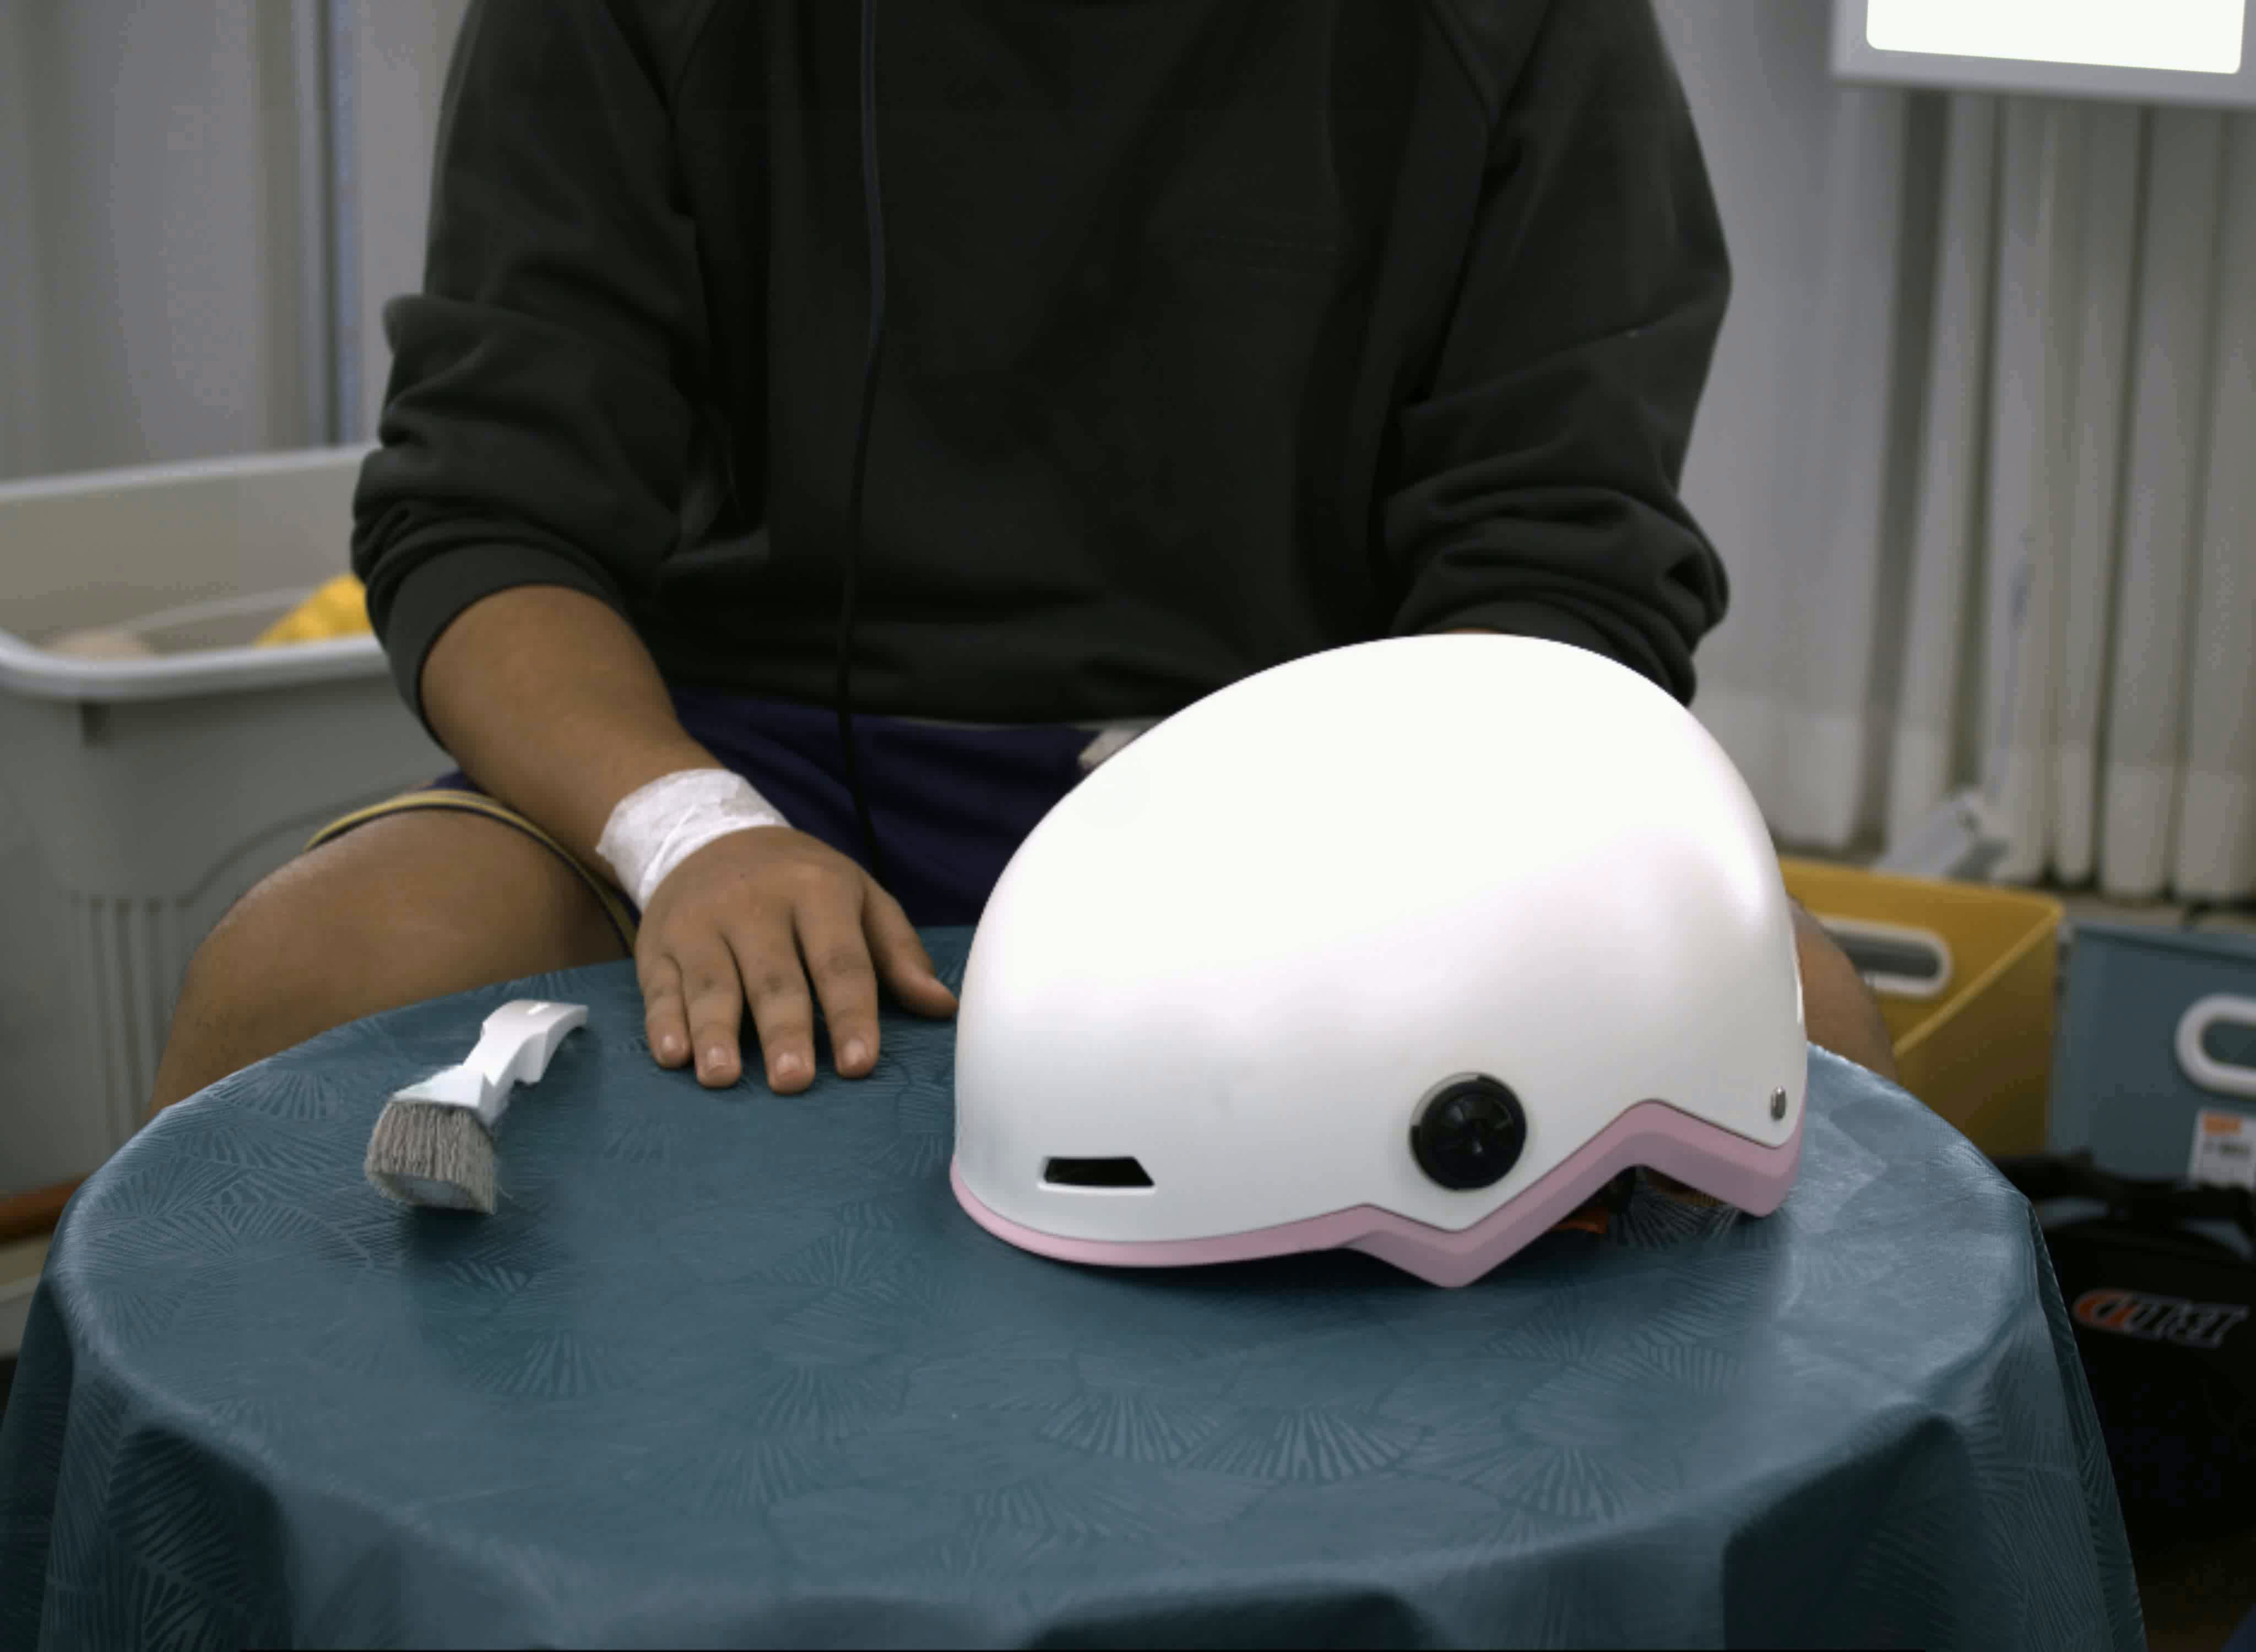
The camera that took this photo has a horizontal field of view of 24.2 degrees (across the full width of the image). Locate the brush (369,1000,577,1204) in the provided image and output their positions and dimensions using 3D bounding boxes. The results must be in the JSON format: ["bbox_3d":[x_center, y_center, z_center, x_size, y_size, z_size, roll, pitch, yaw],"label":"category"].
[{"bbox_3d":[-0.203,0.087,1.663,0.034,0.050,0.243,5,3,2],"label":"brush"}]

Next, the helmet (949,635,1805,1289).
[{"bbox_3d":[0.077,0.029,1.618,0.269,0.168,0.234,-6,17,-22],"label":"helmet"}]
